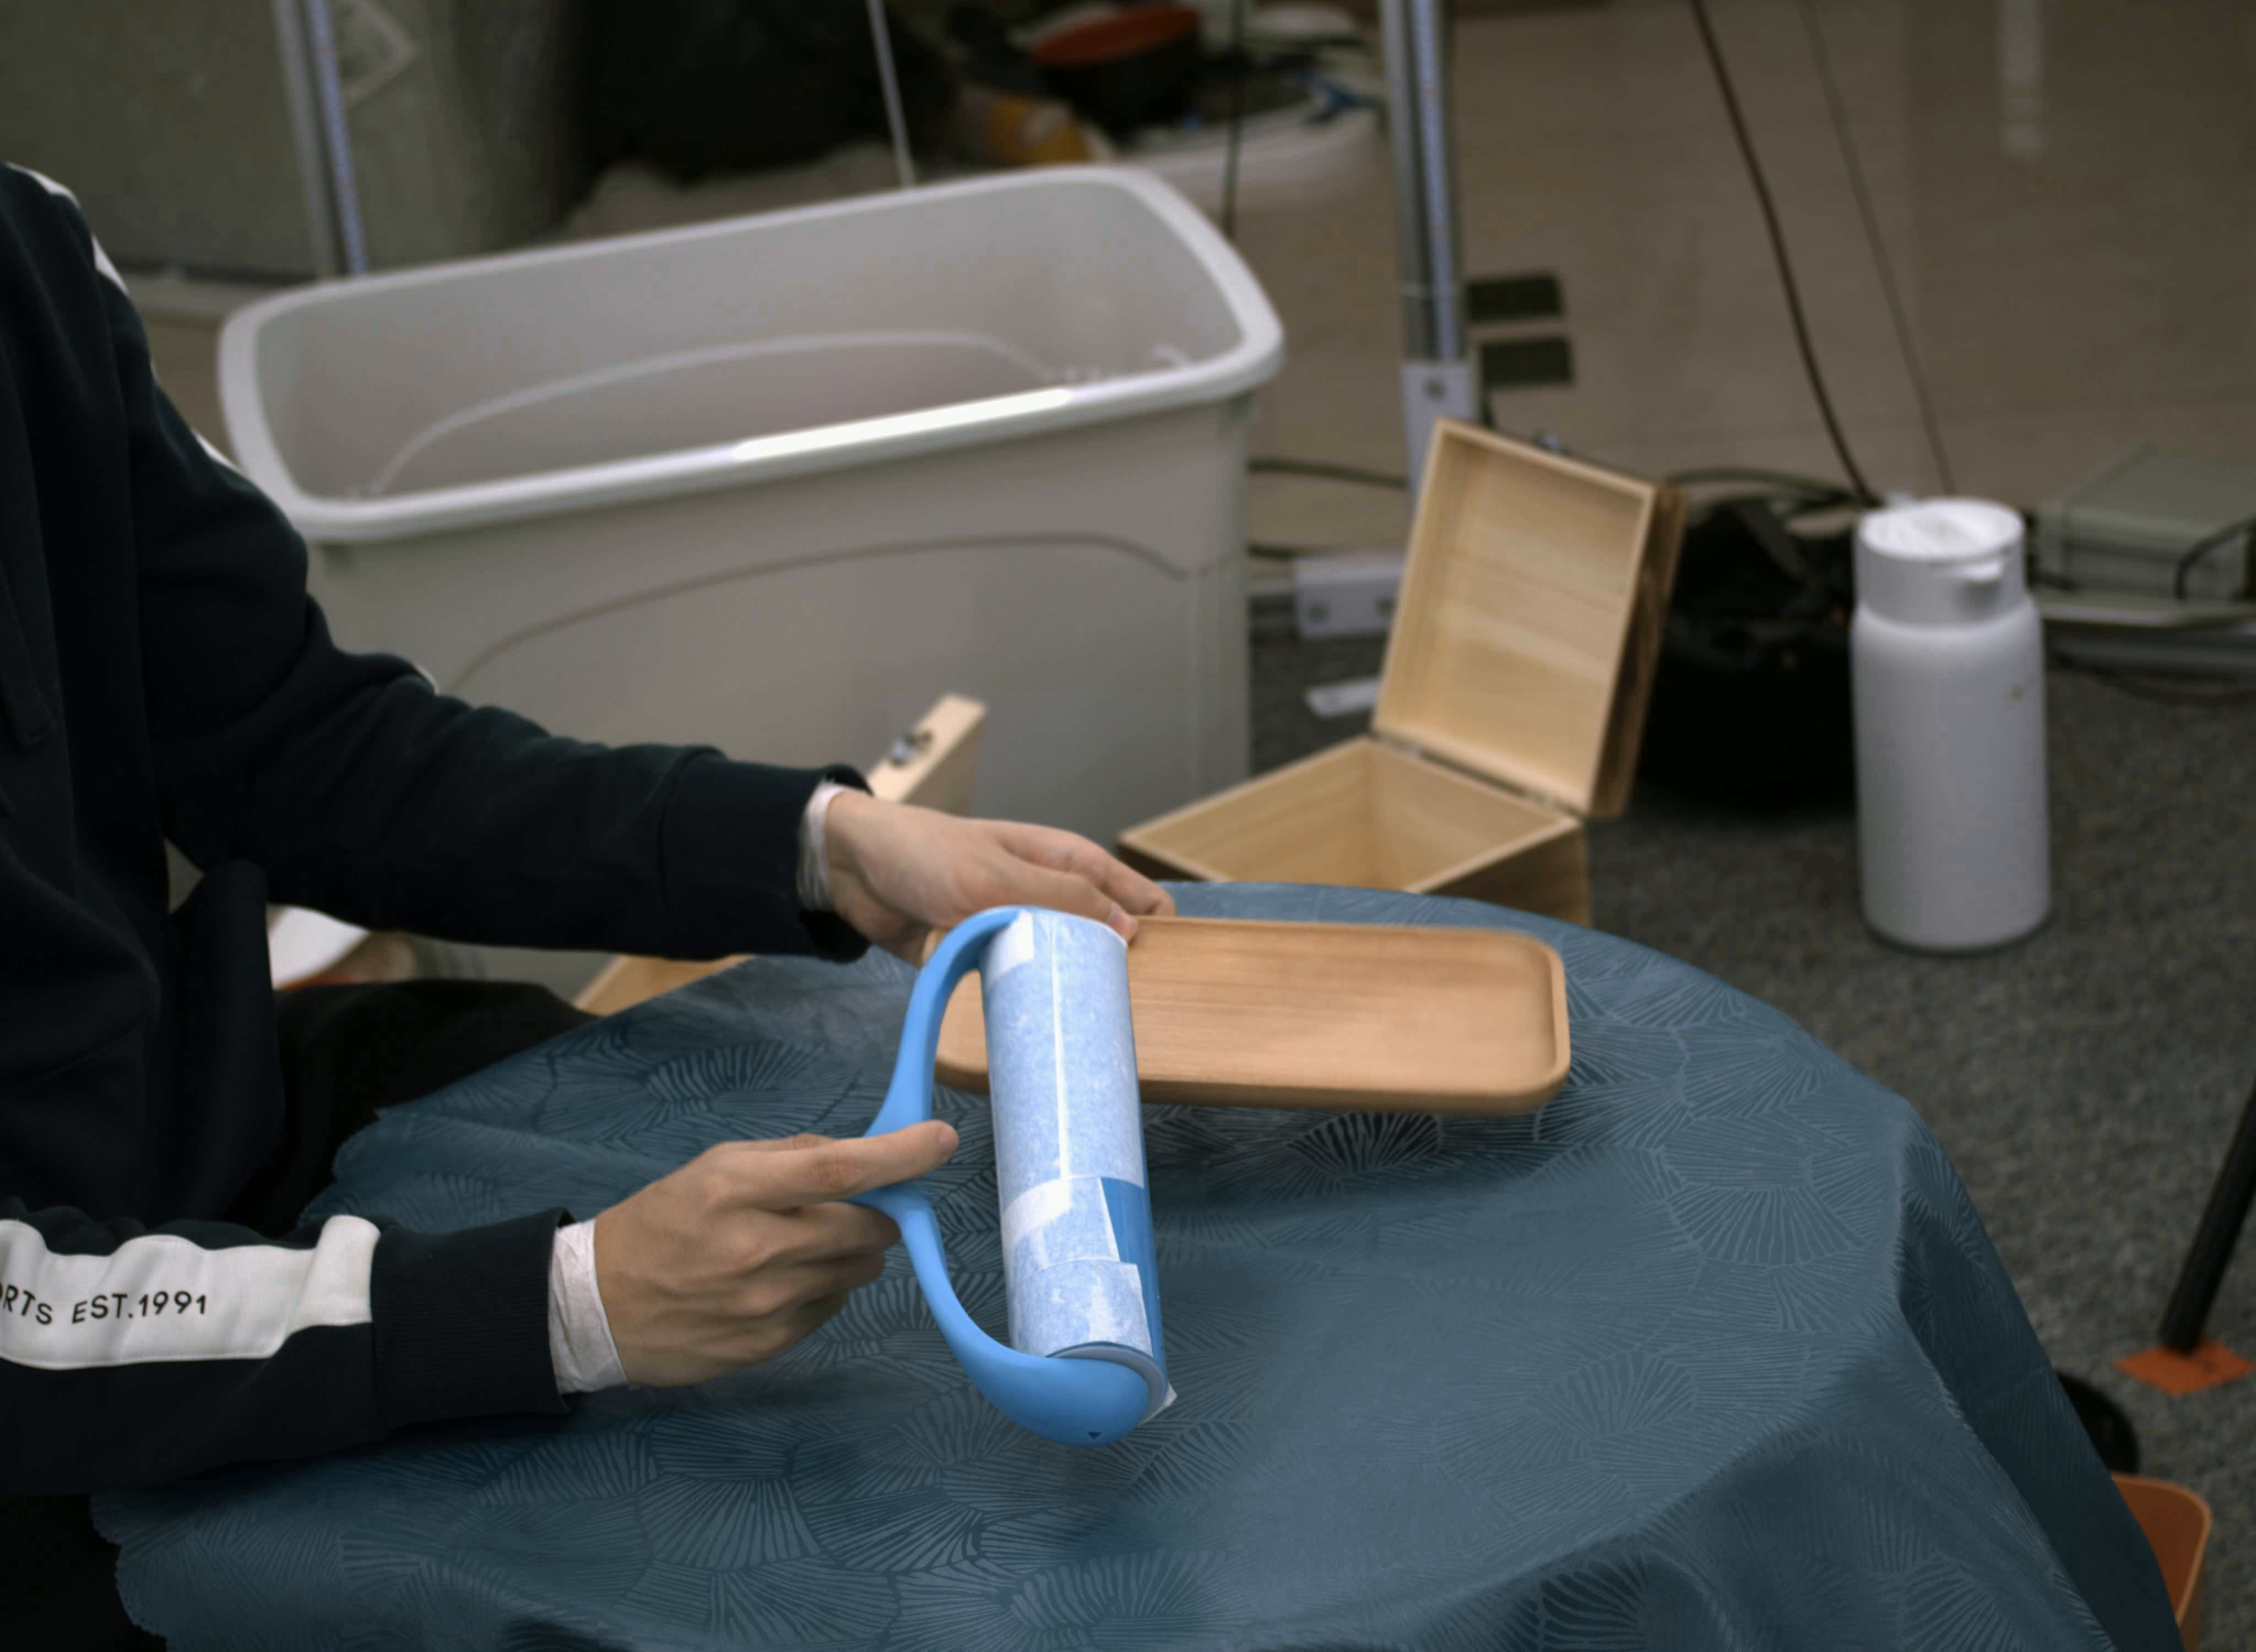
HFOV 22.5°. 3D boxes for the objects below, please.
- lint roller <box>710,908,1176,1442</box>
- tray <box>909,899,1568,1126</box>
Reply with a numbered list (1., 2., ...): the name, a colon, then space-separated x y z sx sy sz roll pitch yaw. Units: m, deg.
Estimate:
1. lint roller: -0.074 0.138 2.011 0.180 0.069 0.225 -18 49 10
2. tray: 0.043 0.072 2.176 0.250 0.023 0.128 4 26 2
